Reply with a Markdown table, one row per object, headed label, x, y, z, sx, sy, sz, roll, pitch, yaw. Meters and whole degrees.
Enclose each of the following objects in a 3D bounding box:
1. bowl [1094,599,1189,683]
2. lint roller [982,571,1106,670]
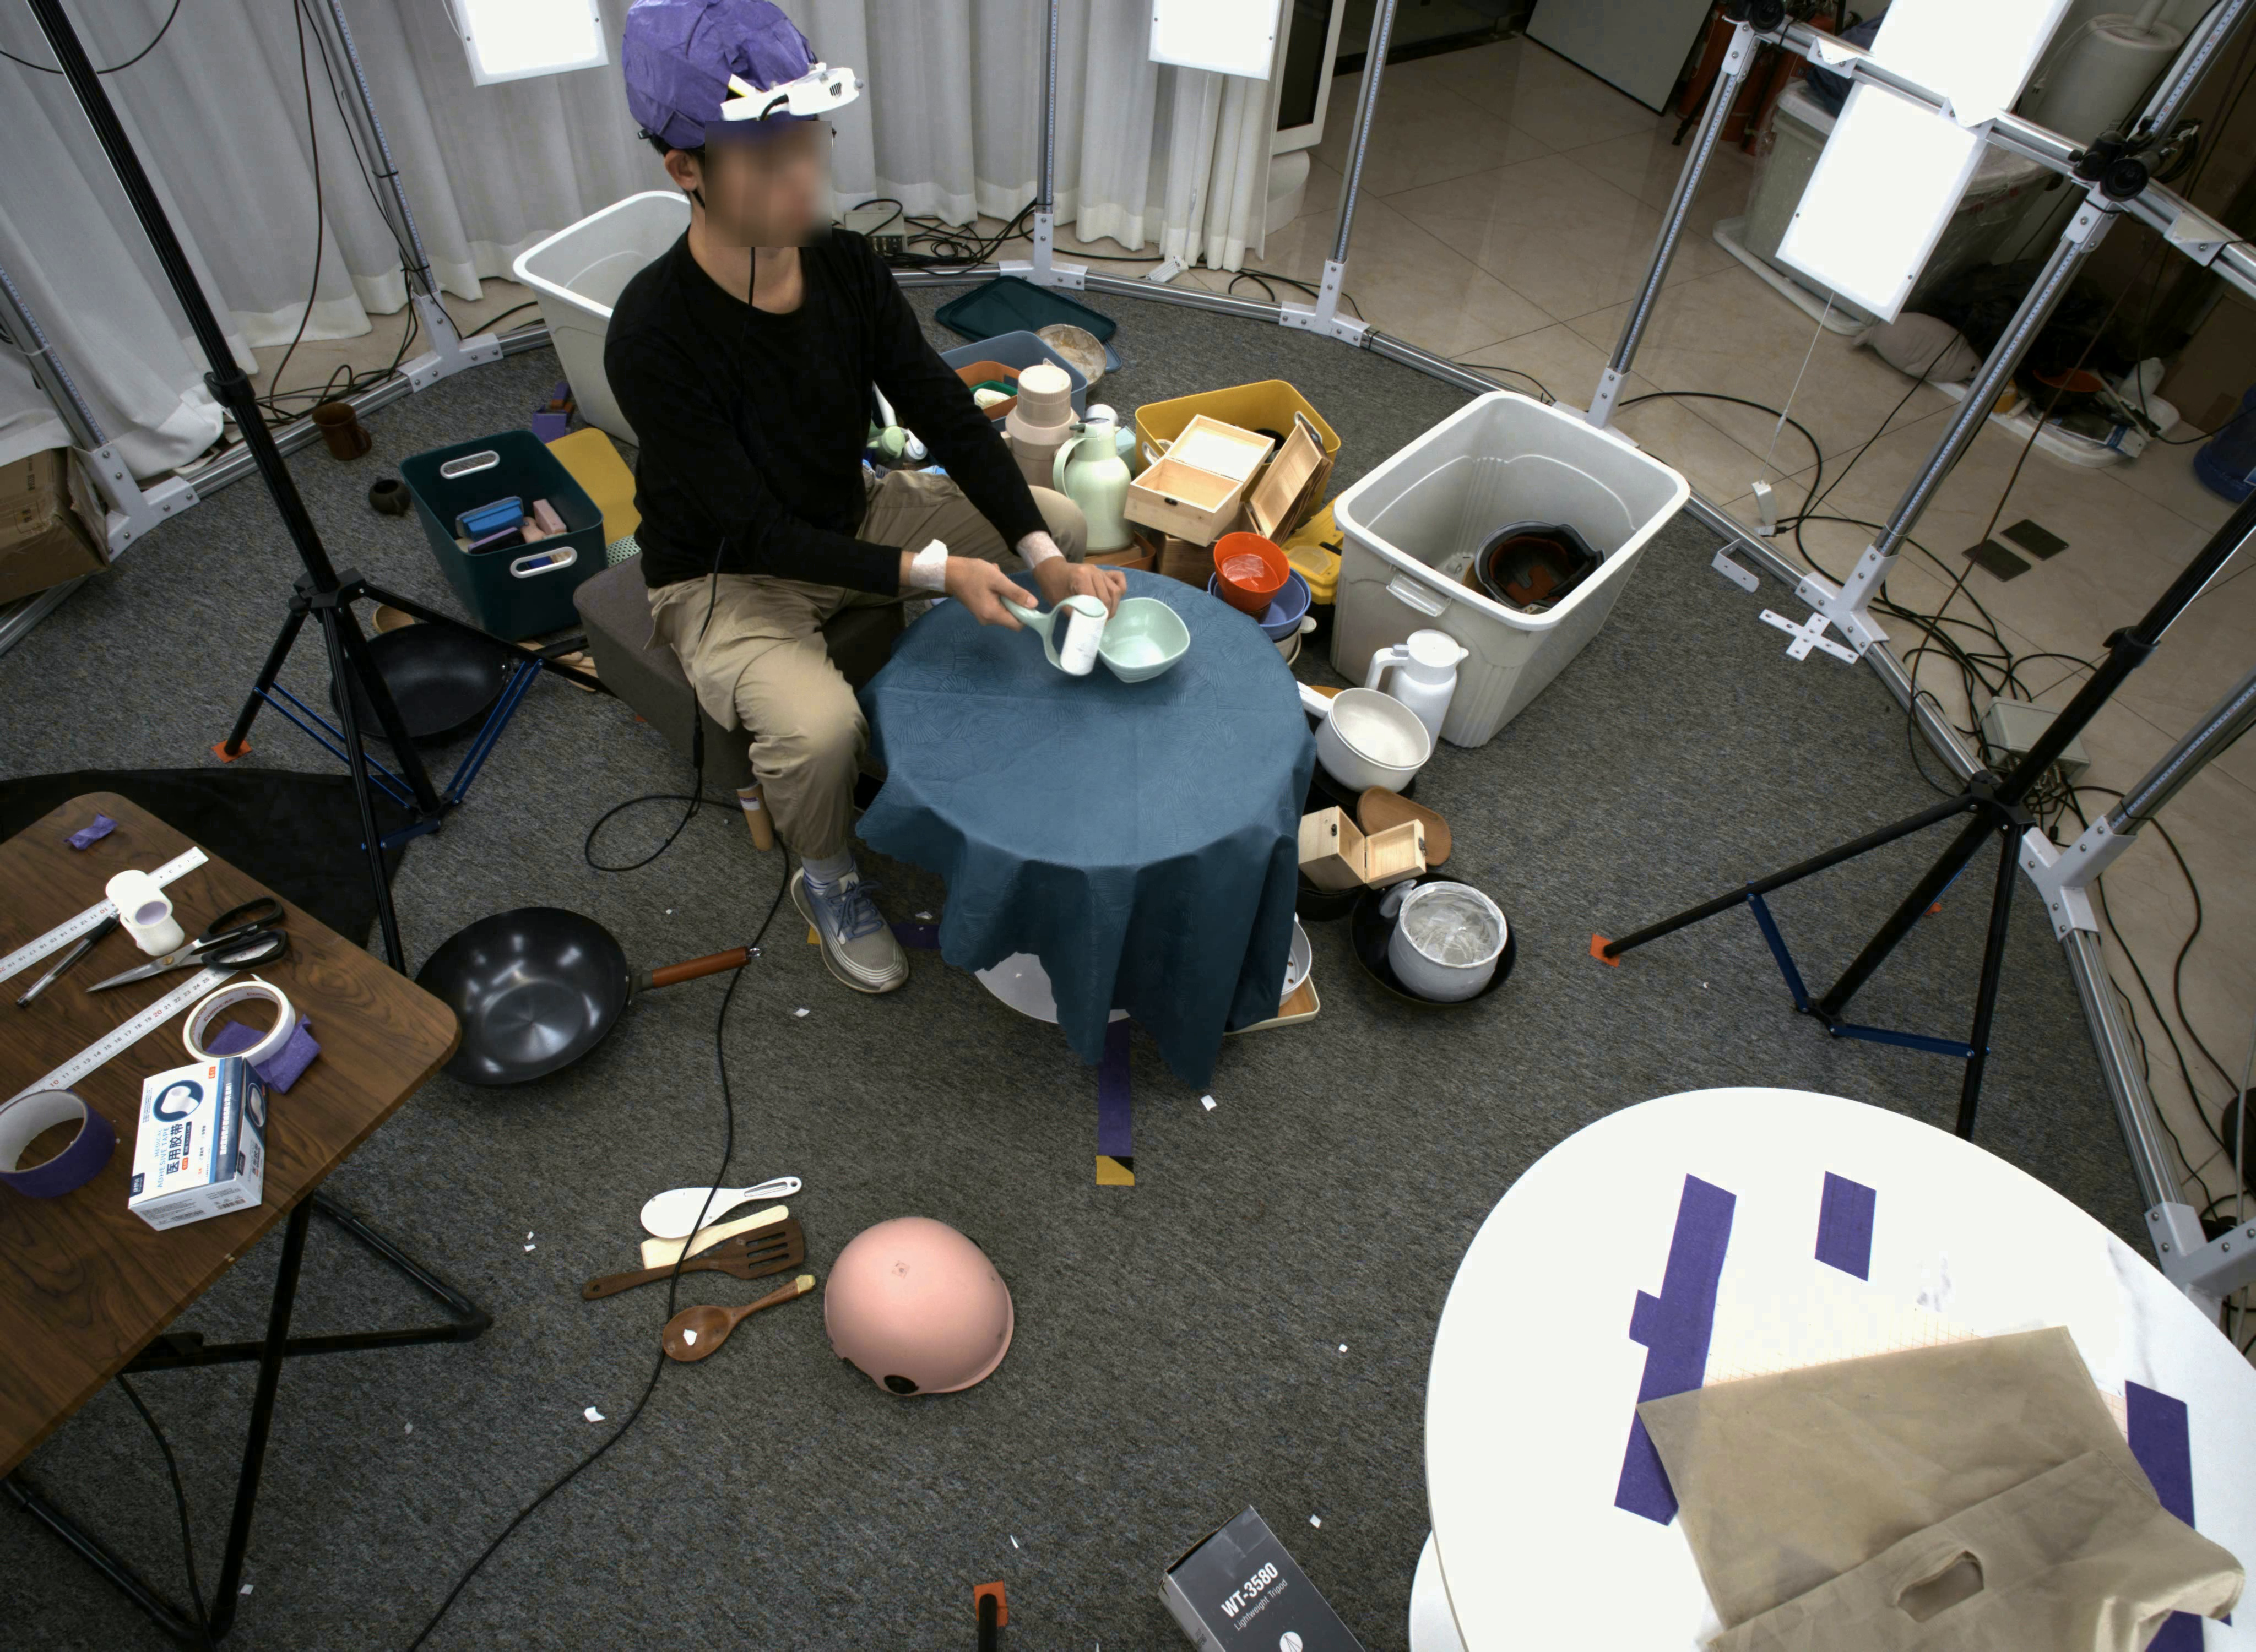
| label | x | y | z | sx | sy | sz | roll | pitch | yaw |
| --- | --- | --- | --- | --- | --- | --- | --- | --- | --- |
| bowl | 0.011 | -0.260 | 1.860 | 0.151 | 0.057 | 0.155 | 3 | 49 | -4 |
| lint roller | -0.126 | -0.305 | 1.803 | 0.199 | 0.114 | 0.049 | 28 | 45 | 12 |
